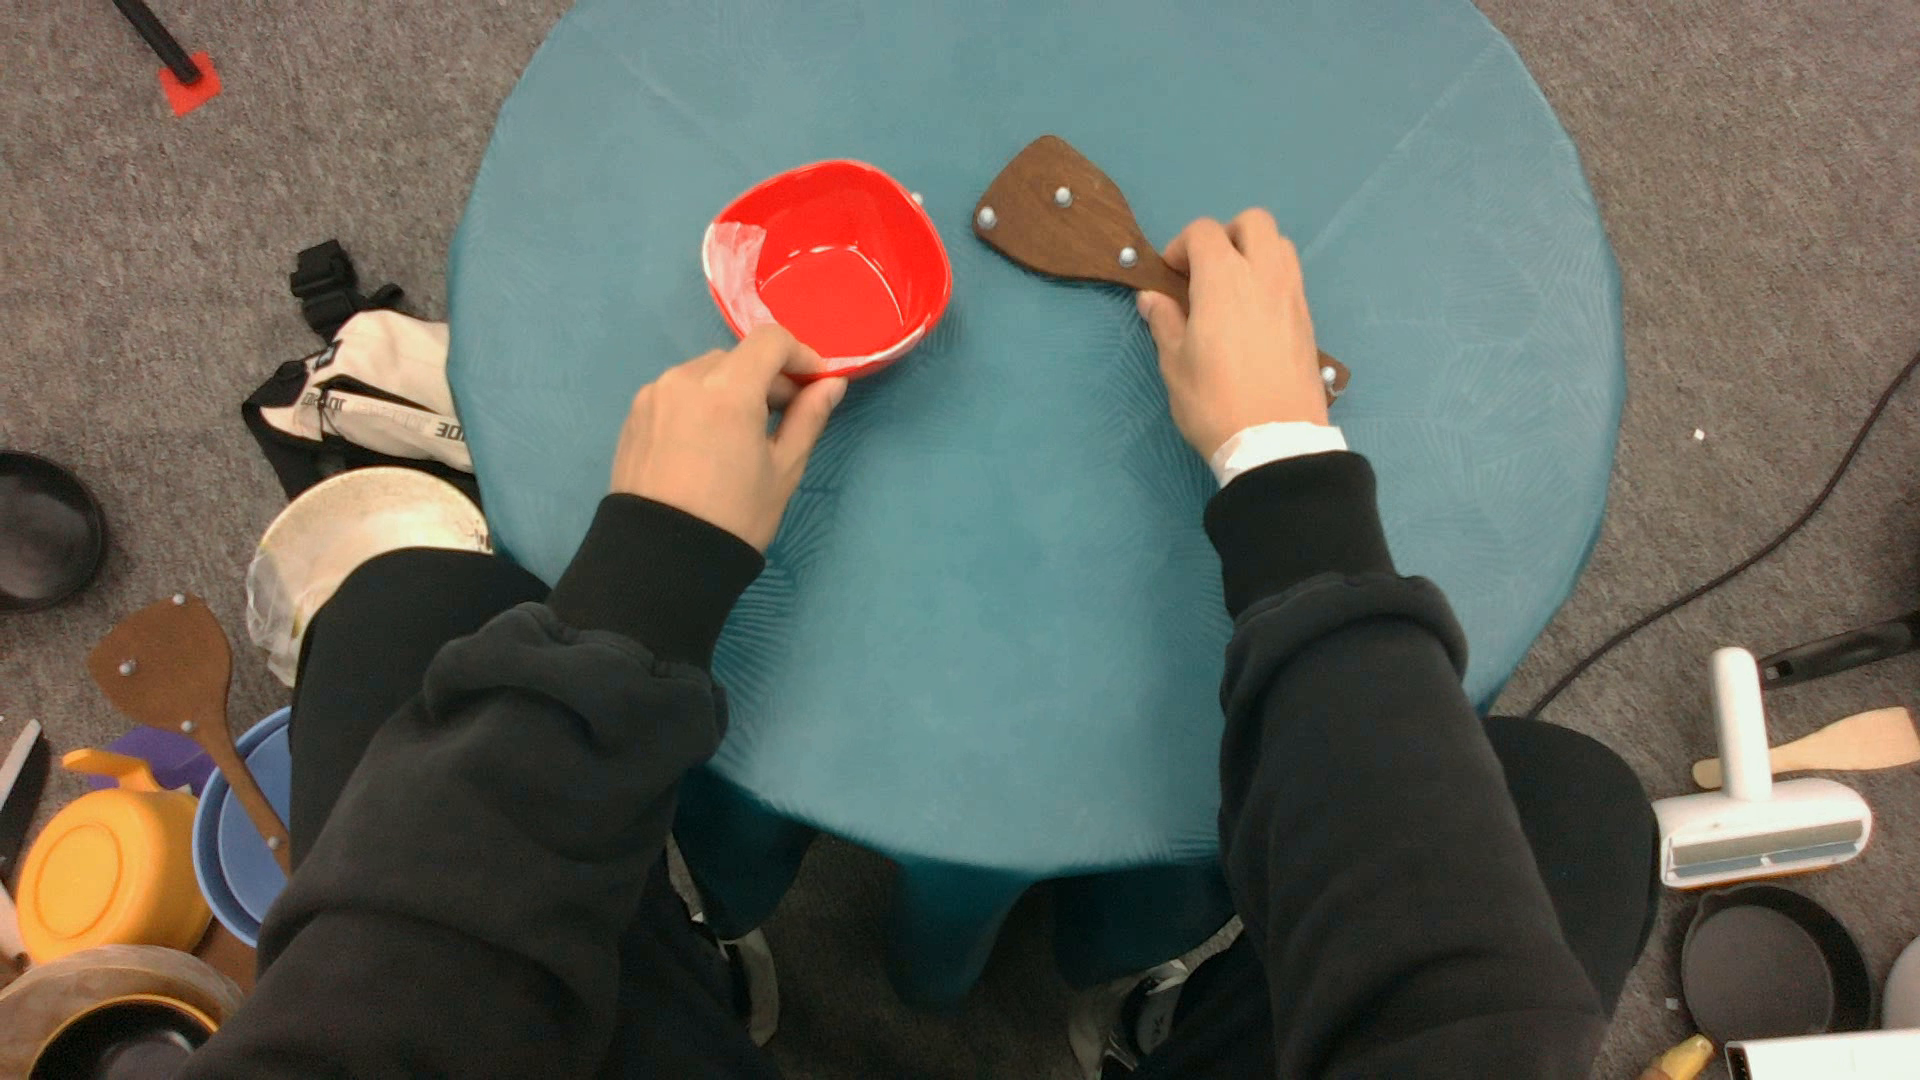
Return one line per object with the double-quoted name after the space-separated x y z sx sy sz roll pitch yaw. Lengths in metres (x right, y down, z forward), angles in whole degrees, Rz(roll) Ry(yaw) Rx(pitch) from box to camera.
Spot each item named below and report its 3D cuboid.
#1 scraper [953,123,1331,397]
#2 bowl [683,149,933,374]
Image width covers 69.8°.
0.095 -0.137 0.701 0.211 0.011 0.076 36 74 13 "scraper"
-0.073 -0.127 0.672 0.119 0.051 0.119 2 68 -4 "bowl"
